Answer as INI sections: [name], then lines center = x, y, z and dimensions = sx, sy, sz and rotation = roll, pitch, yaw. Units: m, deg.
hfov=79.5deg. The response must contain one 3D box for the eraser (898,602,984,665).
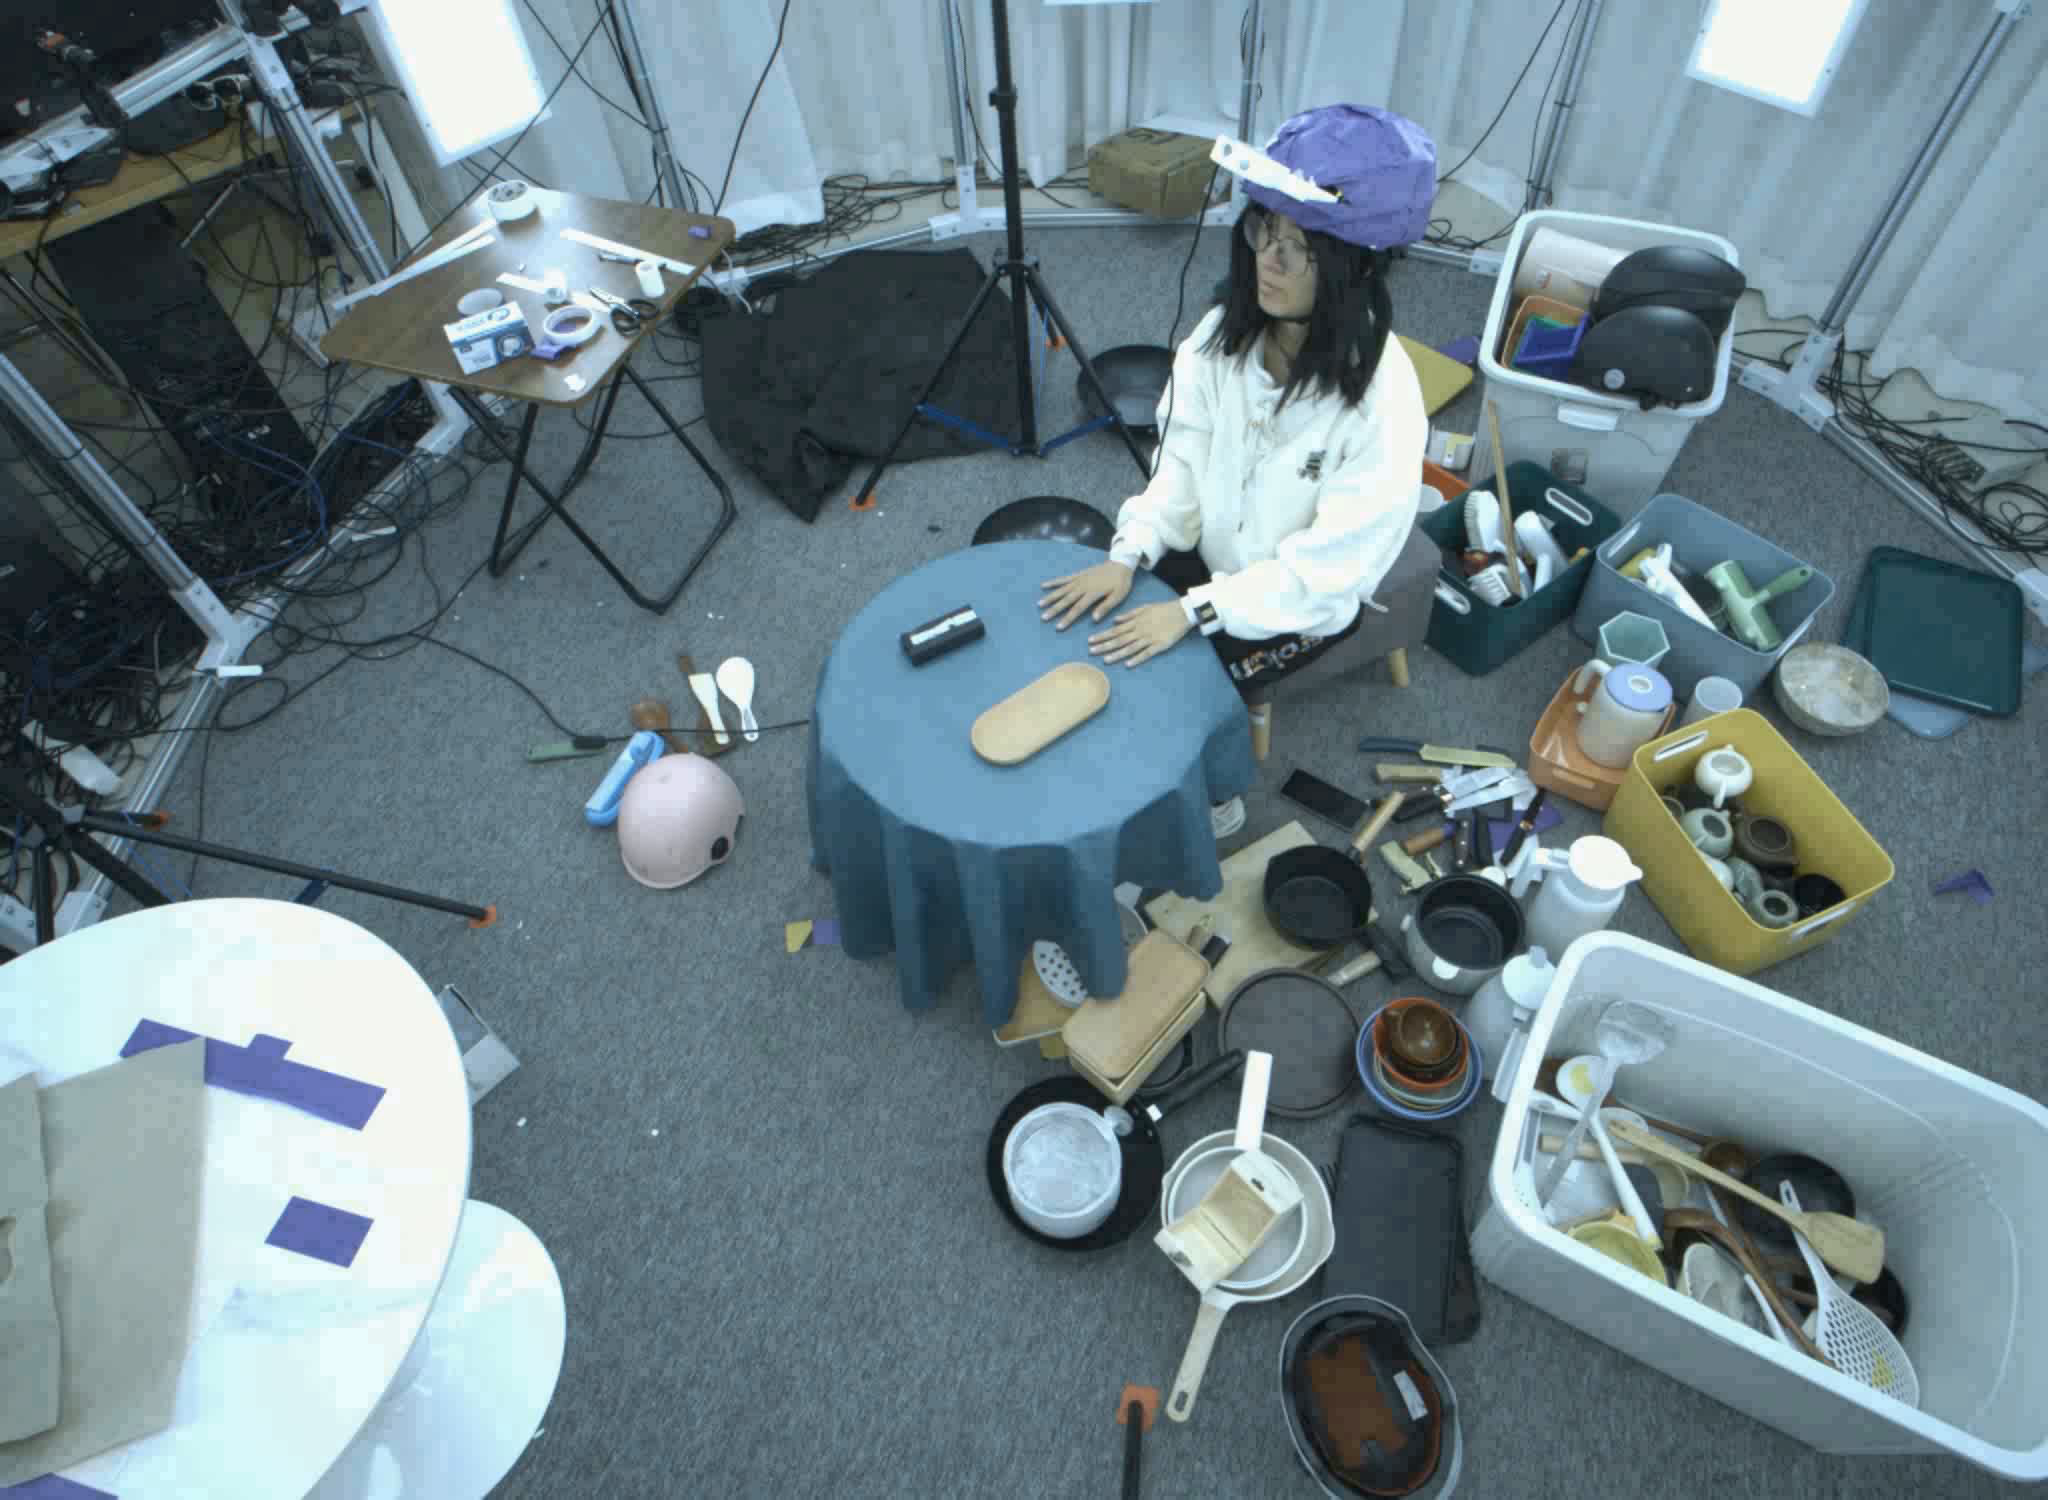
[eraser]
center = -0.129, -0.180, 1.901
dimensions = 0.126, 0.031, 0.052
rotation = -28, 65, -15

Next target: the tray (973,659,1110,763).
[tray]
center = 0.027, -0.058, 1.818
dimensions = 0.233, 0.020, 0.100
rotation = -34, 61, -22
